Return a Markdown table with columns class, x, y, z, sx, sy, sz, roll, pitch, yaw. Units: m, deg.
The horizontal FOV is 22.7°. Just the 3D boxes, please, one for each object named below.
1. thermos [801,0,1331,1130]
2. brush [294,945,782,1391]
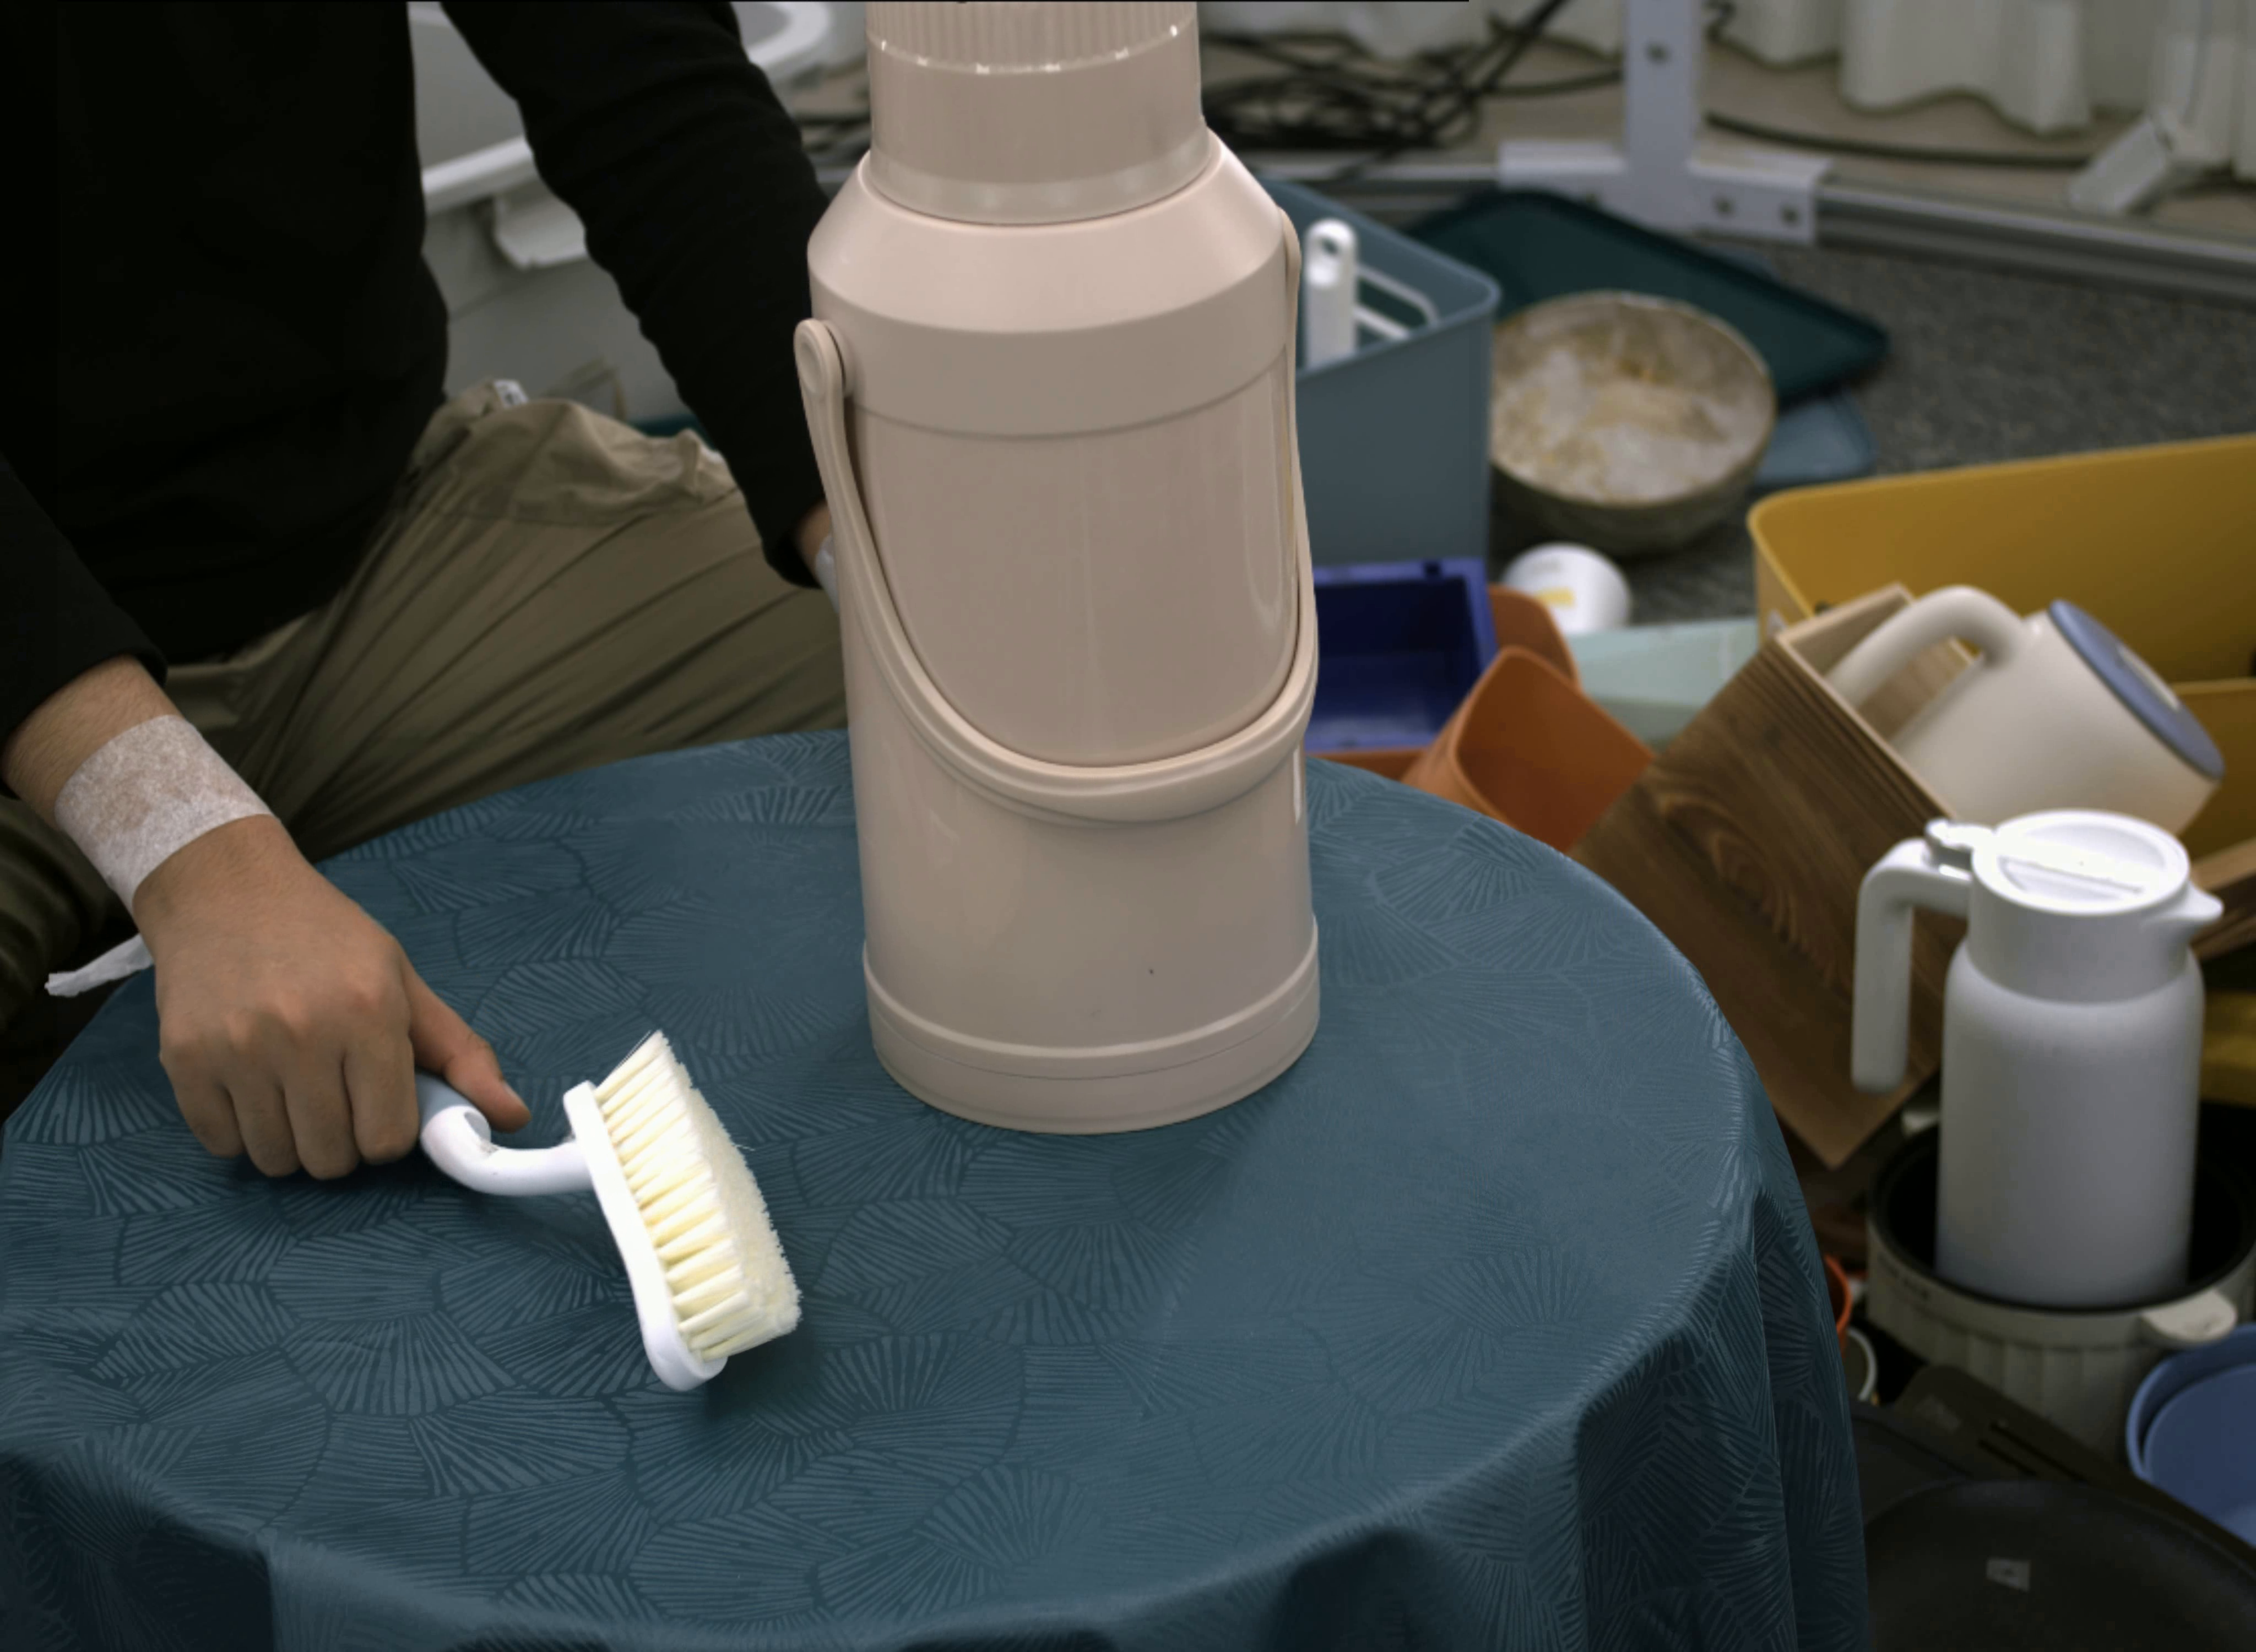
| class | x | y | z | sx | sy | sz | roll | pitch | yaw |
| --- | --- | --- | --- | --- | --- | --- | --- | --- | --- |
| thermos | -0.025 | -0.114 | 1.893 | 0.176 | 0.402 | 0.208 | -18 | 30 | -24 |
| brush | -0.189 | 0.088 | 1.870 | 0.085 | 0.082 | 0.327 | -1 | 22 | -28 |
